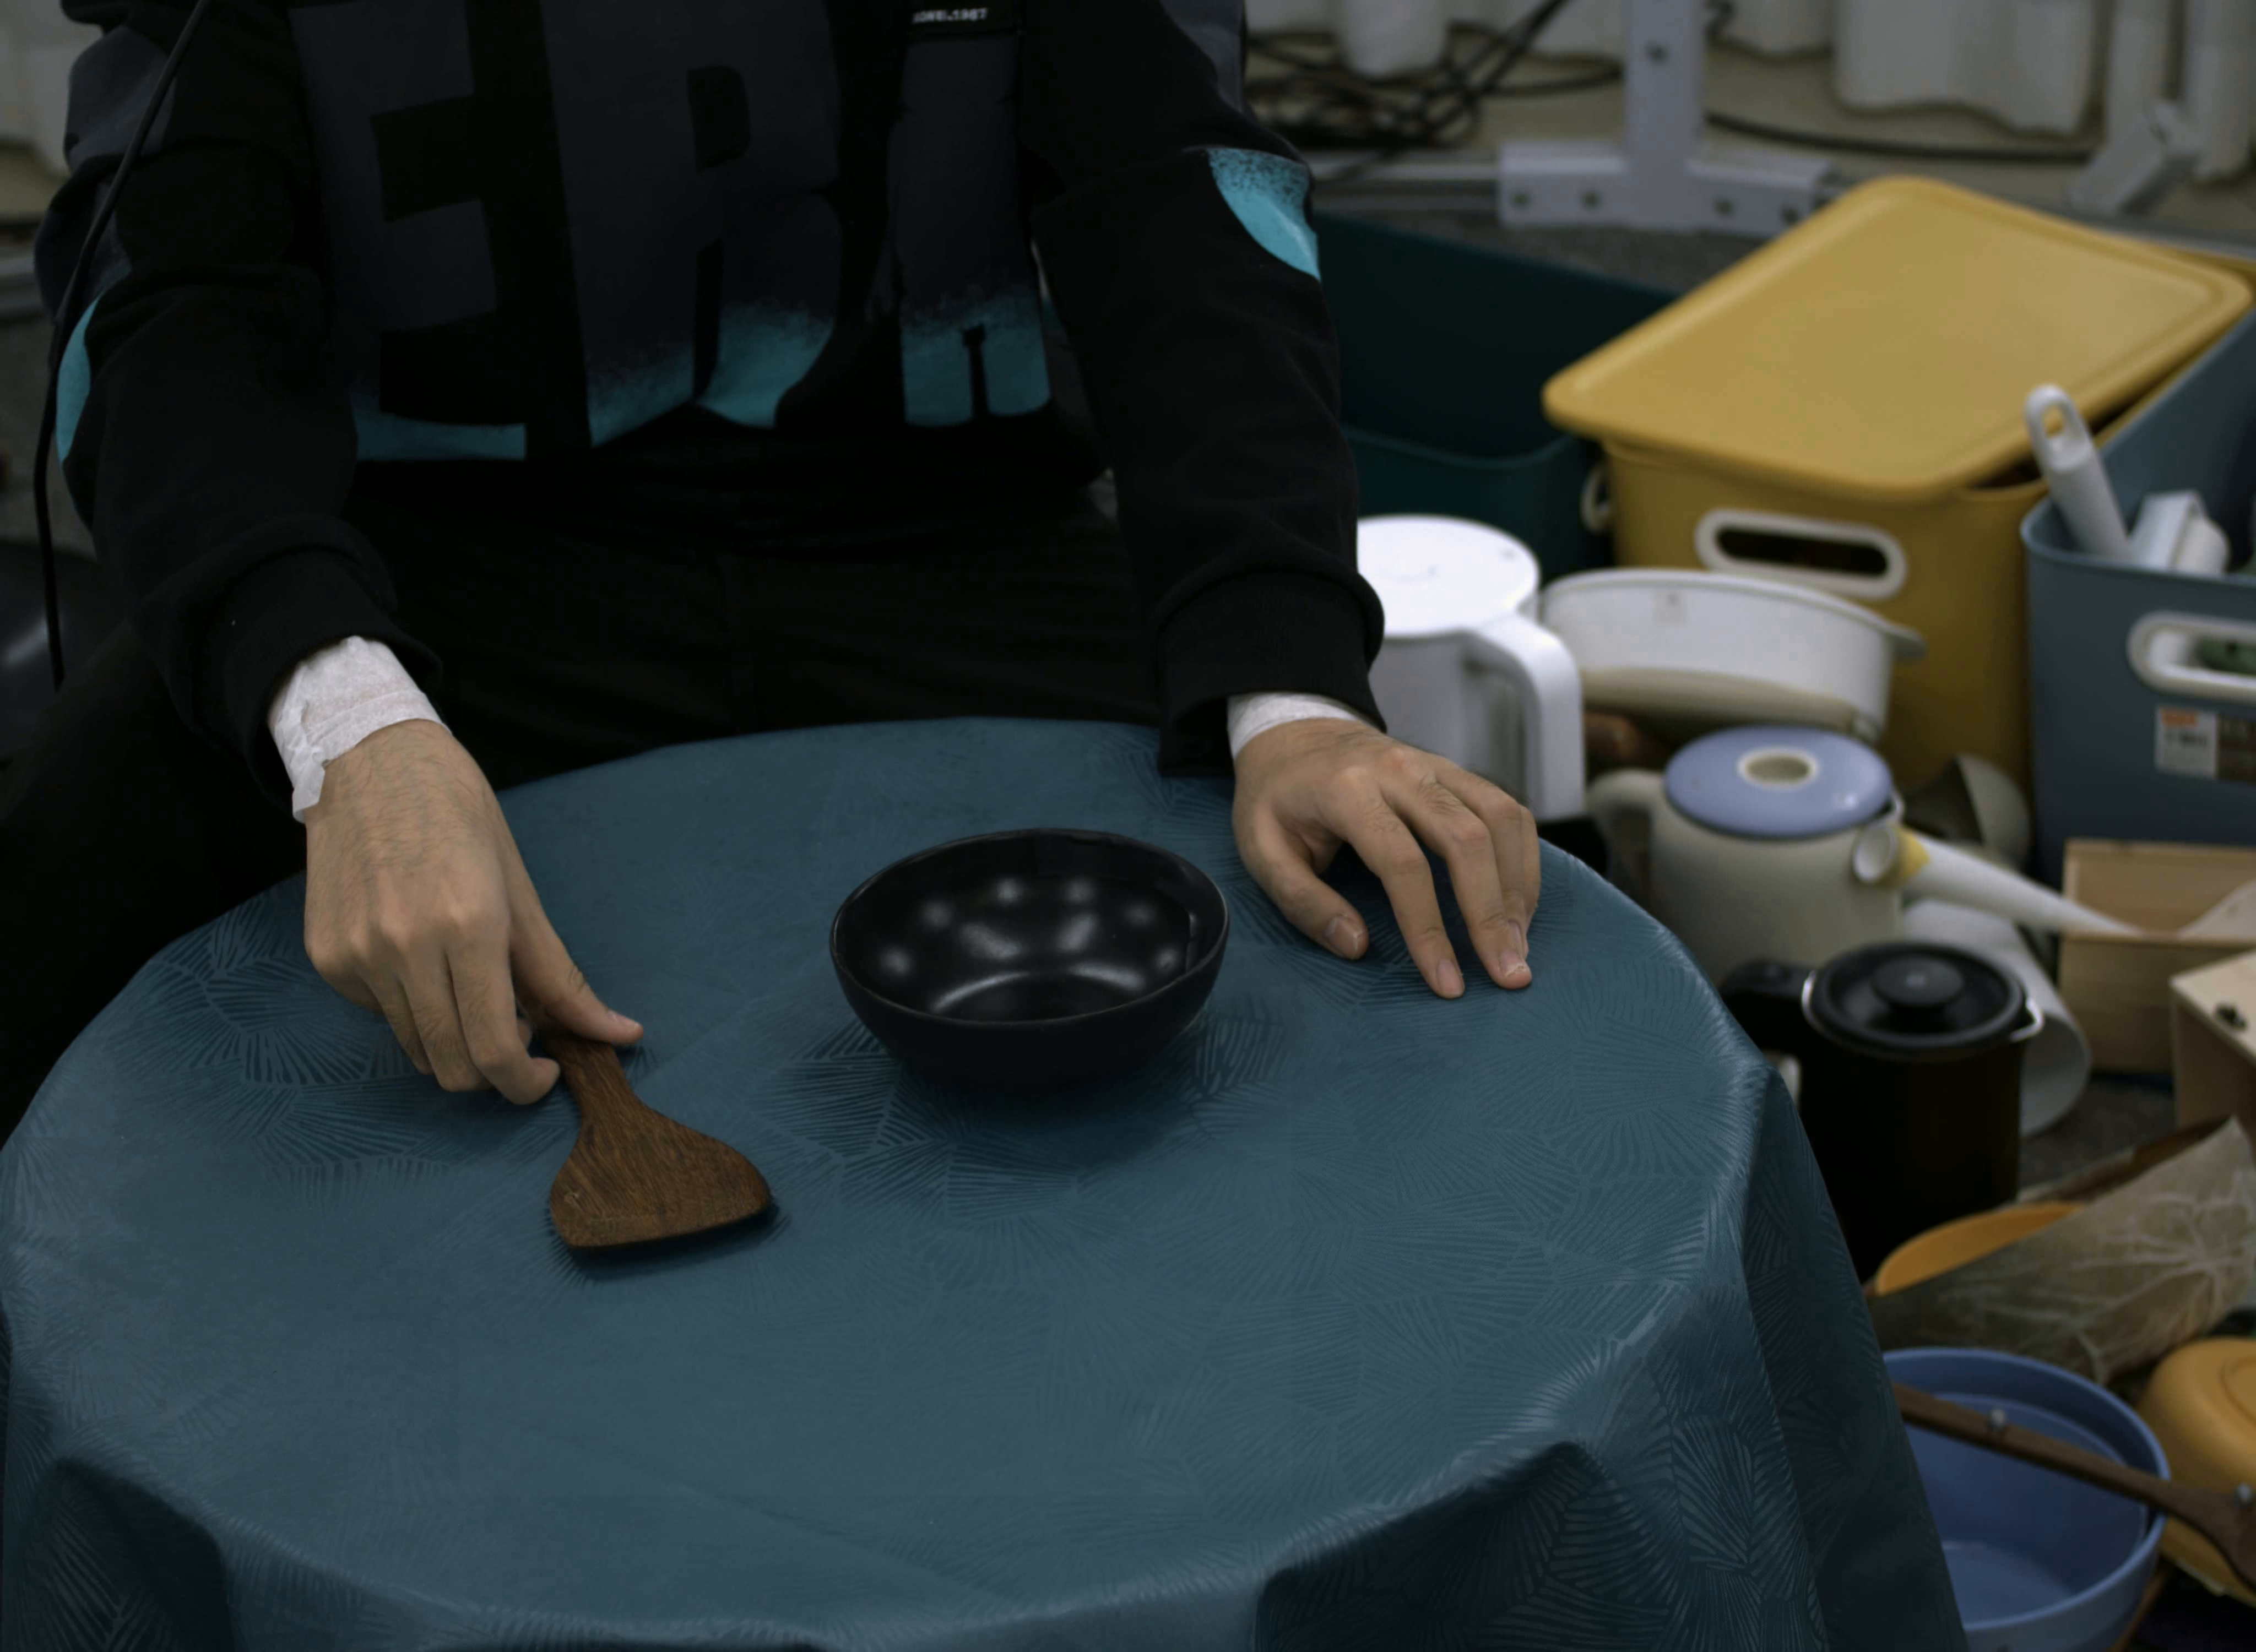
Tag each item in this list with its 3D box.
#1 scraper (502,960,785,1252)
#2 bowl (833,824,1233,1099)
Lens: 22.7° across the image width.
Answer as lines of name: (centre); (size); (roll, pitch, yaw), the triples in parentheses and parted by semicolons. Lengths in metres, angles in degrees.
scraper: (-0.178, 0.094, 1.923); (0.076, 0.011, 0.213); (-9, 27, -16)
bowl: (-0.031, 0.055, 1.940); (0.139, 0.049, 0.142); (-4, 29, 3)
